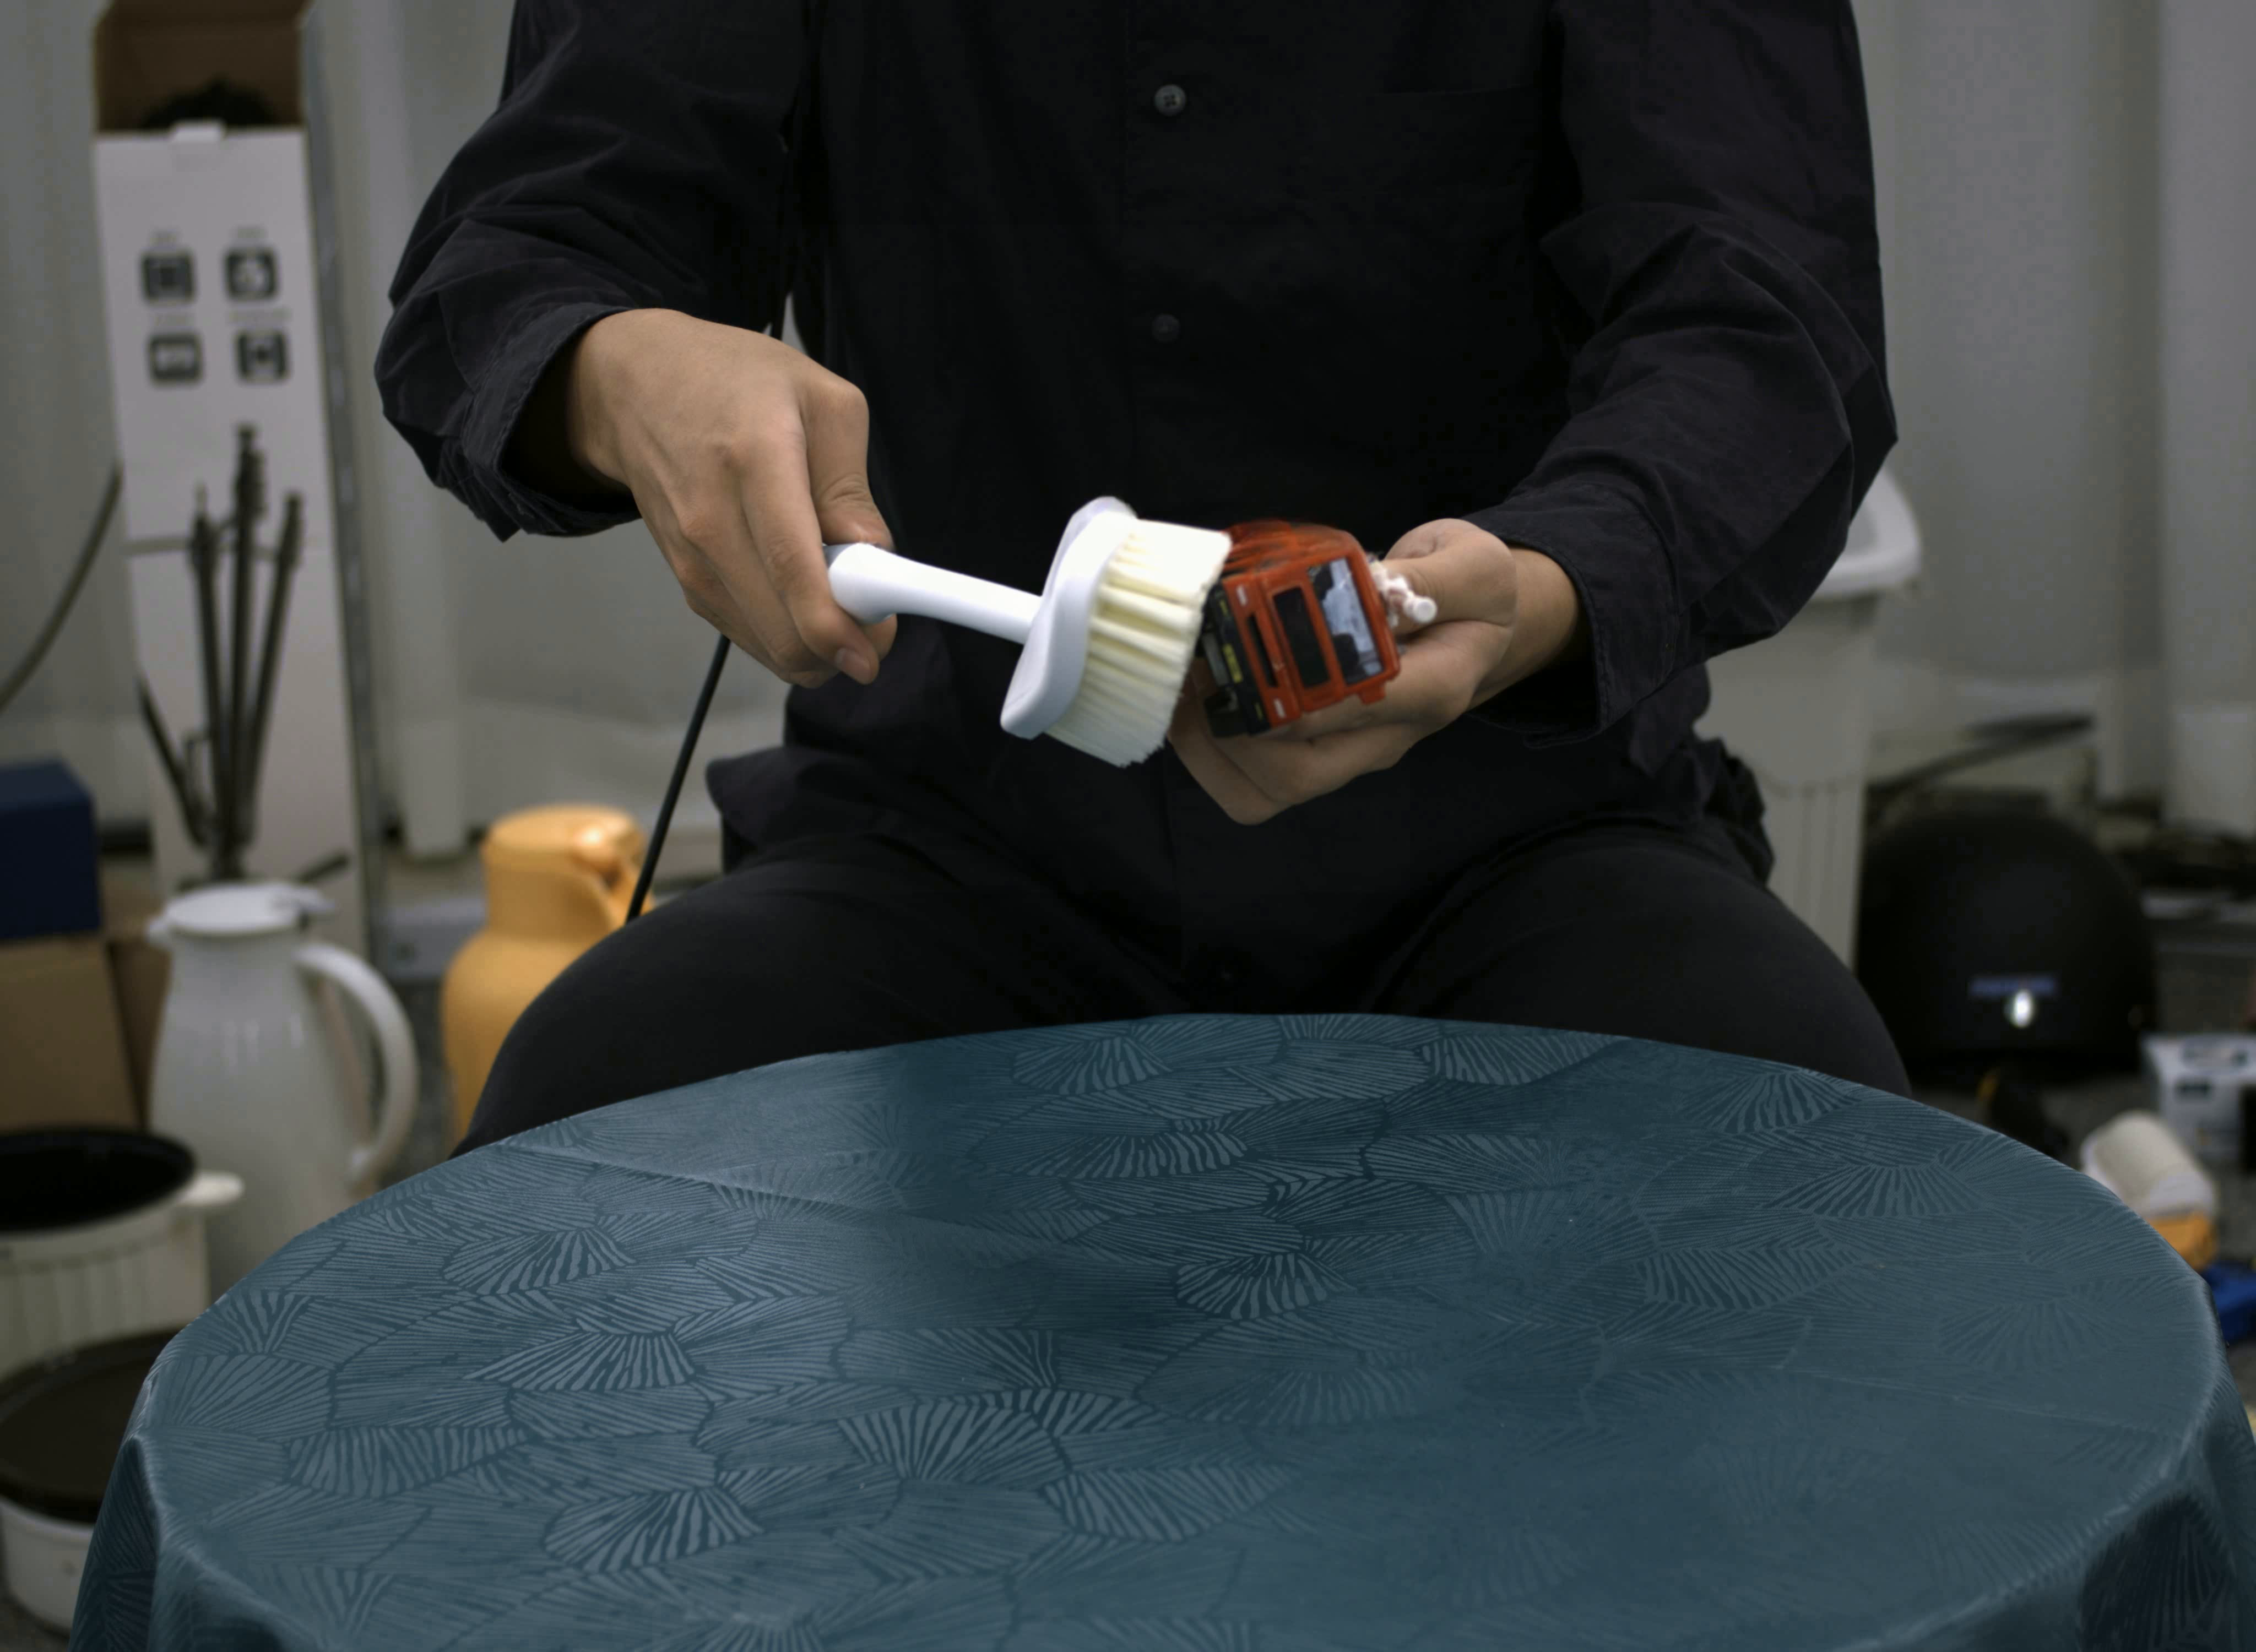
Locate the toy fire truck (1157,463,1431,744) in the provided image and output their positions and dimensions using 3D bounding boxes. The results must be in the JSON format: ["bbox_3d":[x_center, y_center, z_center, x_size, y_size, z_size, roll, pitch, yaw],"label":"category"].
[{"bbox_3d":[0.044,-0.065,1.552,0.070,0.054,0.168,-20,8,-1],"label":"toy fire truck"}]

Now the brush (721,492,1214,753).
[{"bbox_3d":[-0.035,-0.065,1.628,0.083,0.084,0.326,-36,13,-15],"label":"brush"}]
